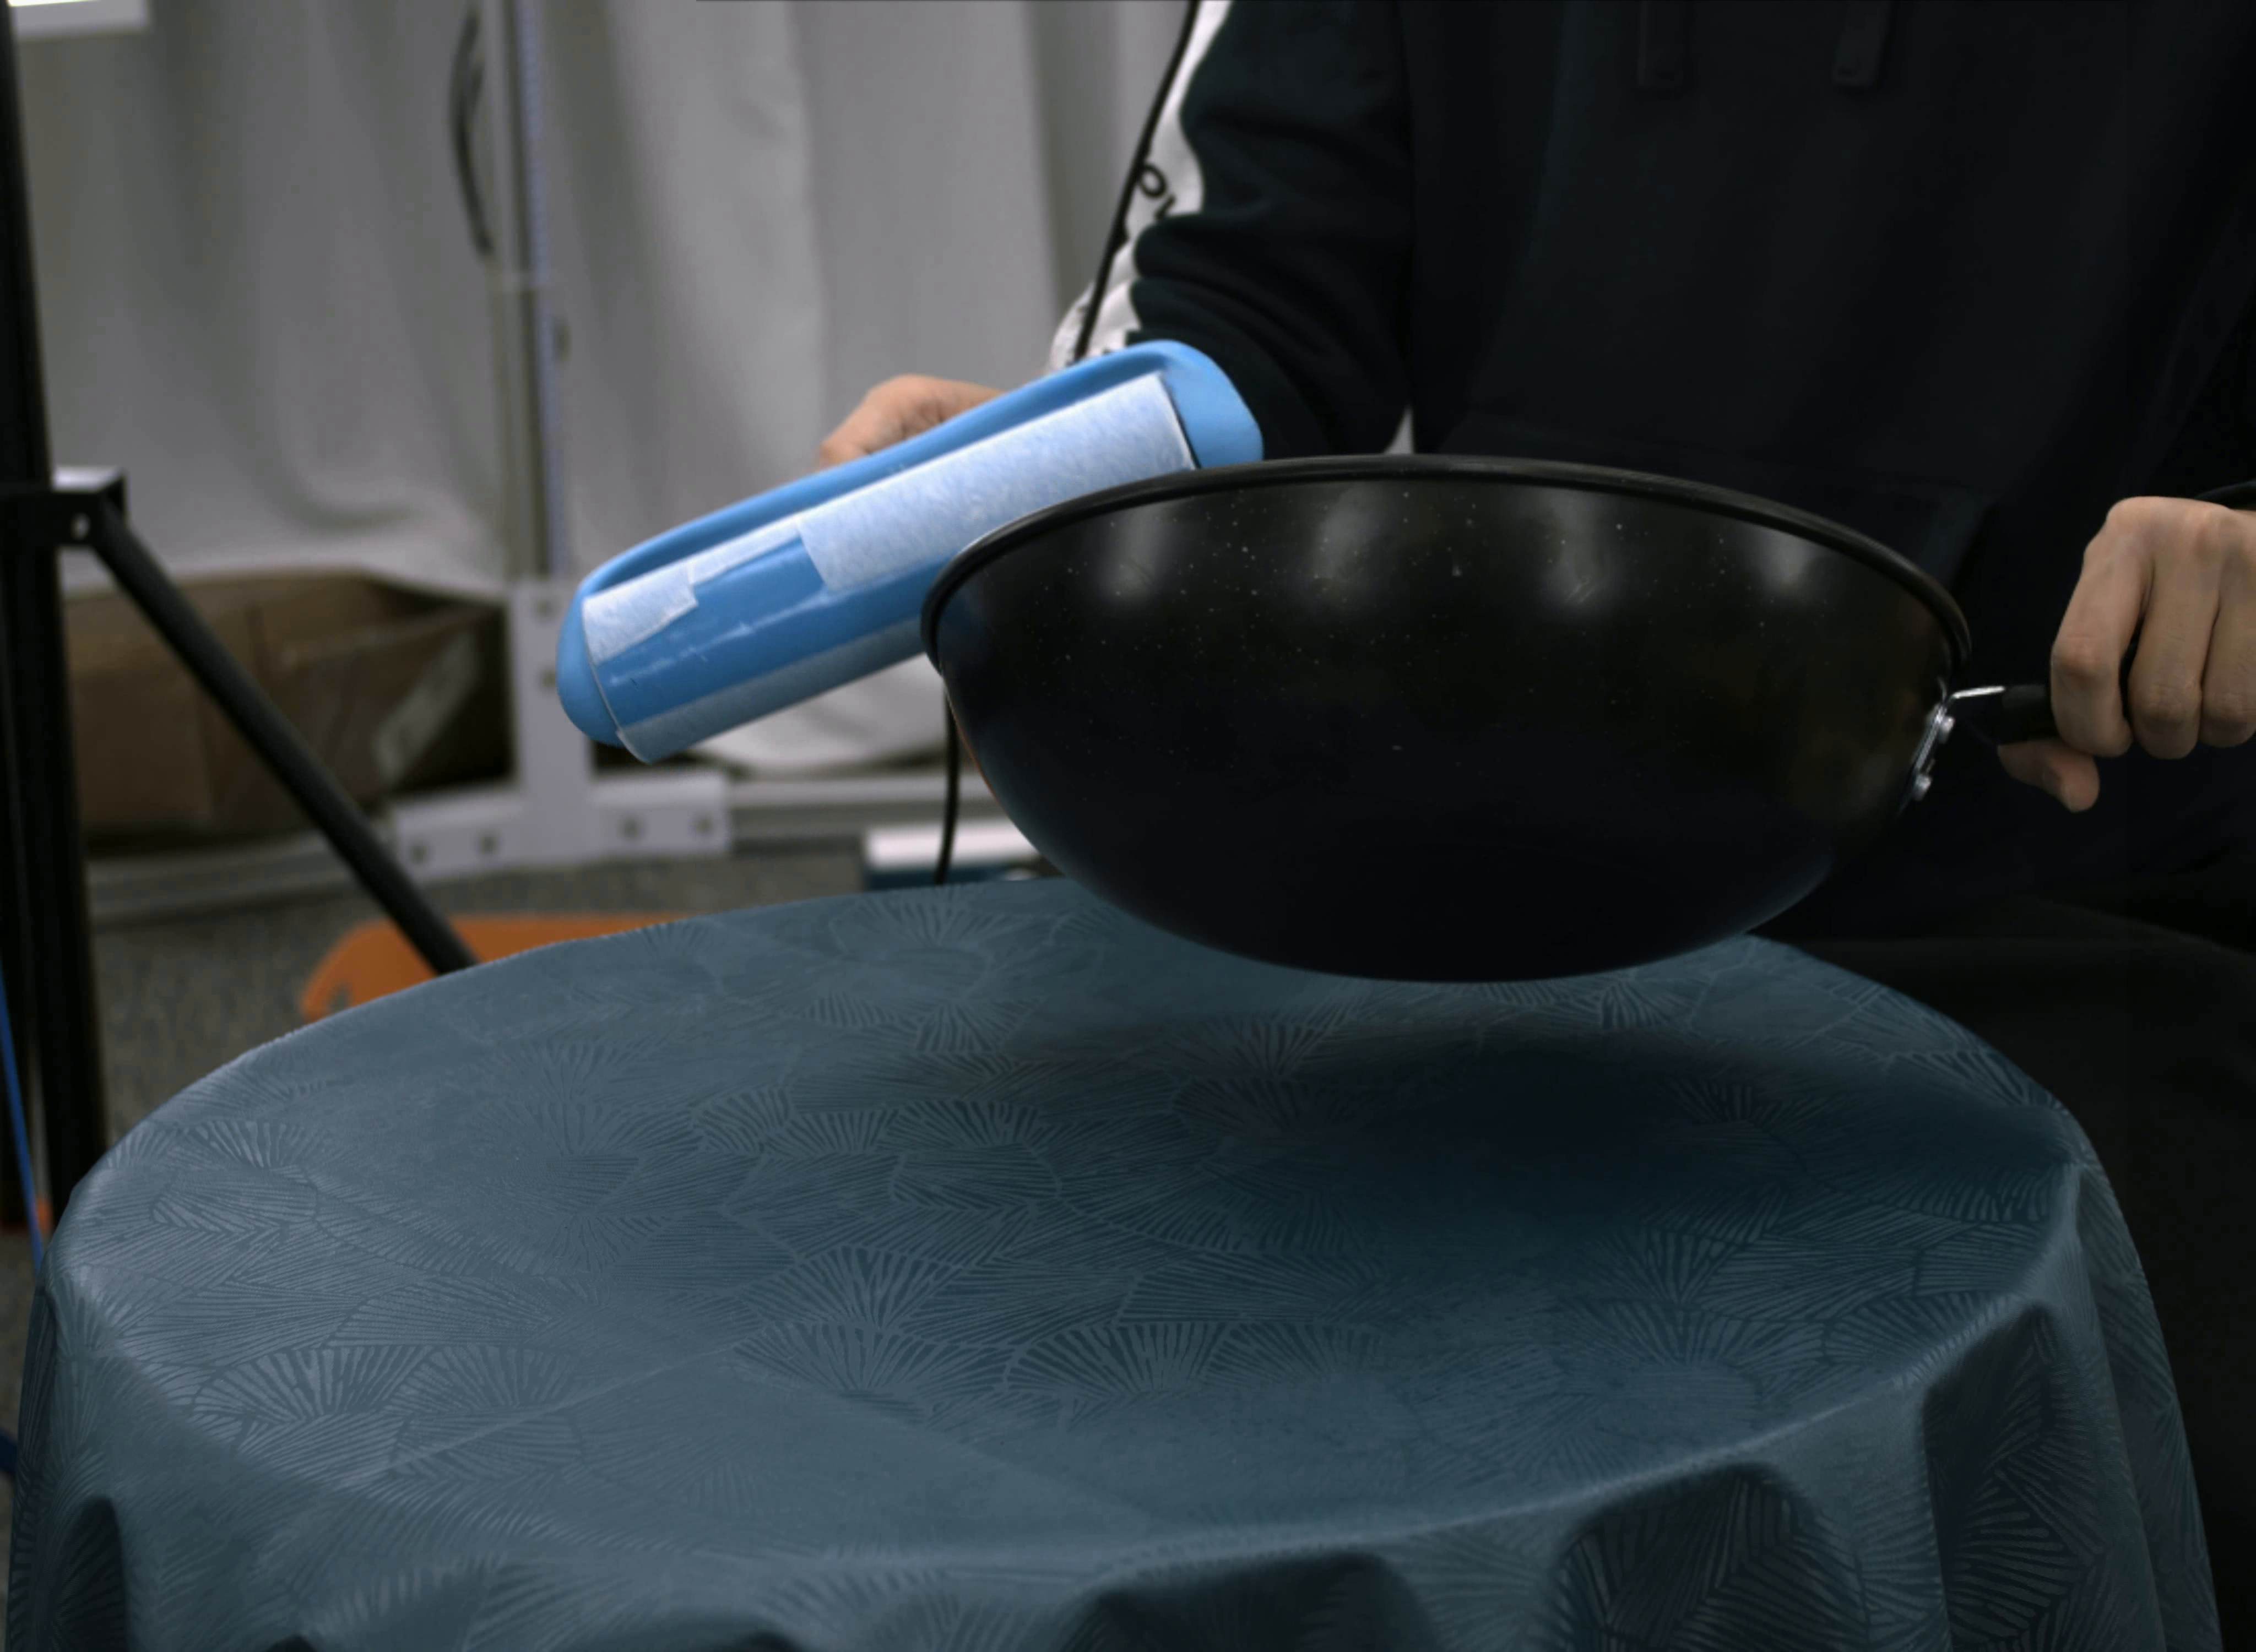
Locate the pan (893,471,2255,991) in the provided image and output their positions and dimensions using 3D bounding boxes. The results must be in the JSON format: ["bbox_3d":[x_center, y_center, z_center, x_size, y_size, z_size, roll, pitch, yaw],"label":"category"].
[{"bbox_3d":[0.167,-0.019,1.549,0.475,0.112,0.309,3,-16,1],"label":"pan"}]

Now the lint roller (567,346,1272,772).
[{"bbox_3d":[-0.060,-0.085,1.660,0.229,0.068,0.180,-23,6,8],"label":"lint roller"}]
